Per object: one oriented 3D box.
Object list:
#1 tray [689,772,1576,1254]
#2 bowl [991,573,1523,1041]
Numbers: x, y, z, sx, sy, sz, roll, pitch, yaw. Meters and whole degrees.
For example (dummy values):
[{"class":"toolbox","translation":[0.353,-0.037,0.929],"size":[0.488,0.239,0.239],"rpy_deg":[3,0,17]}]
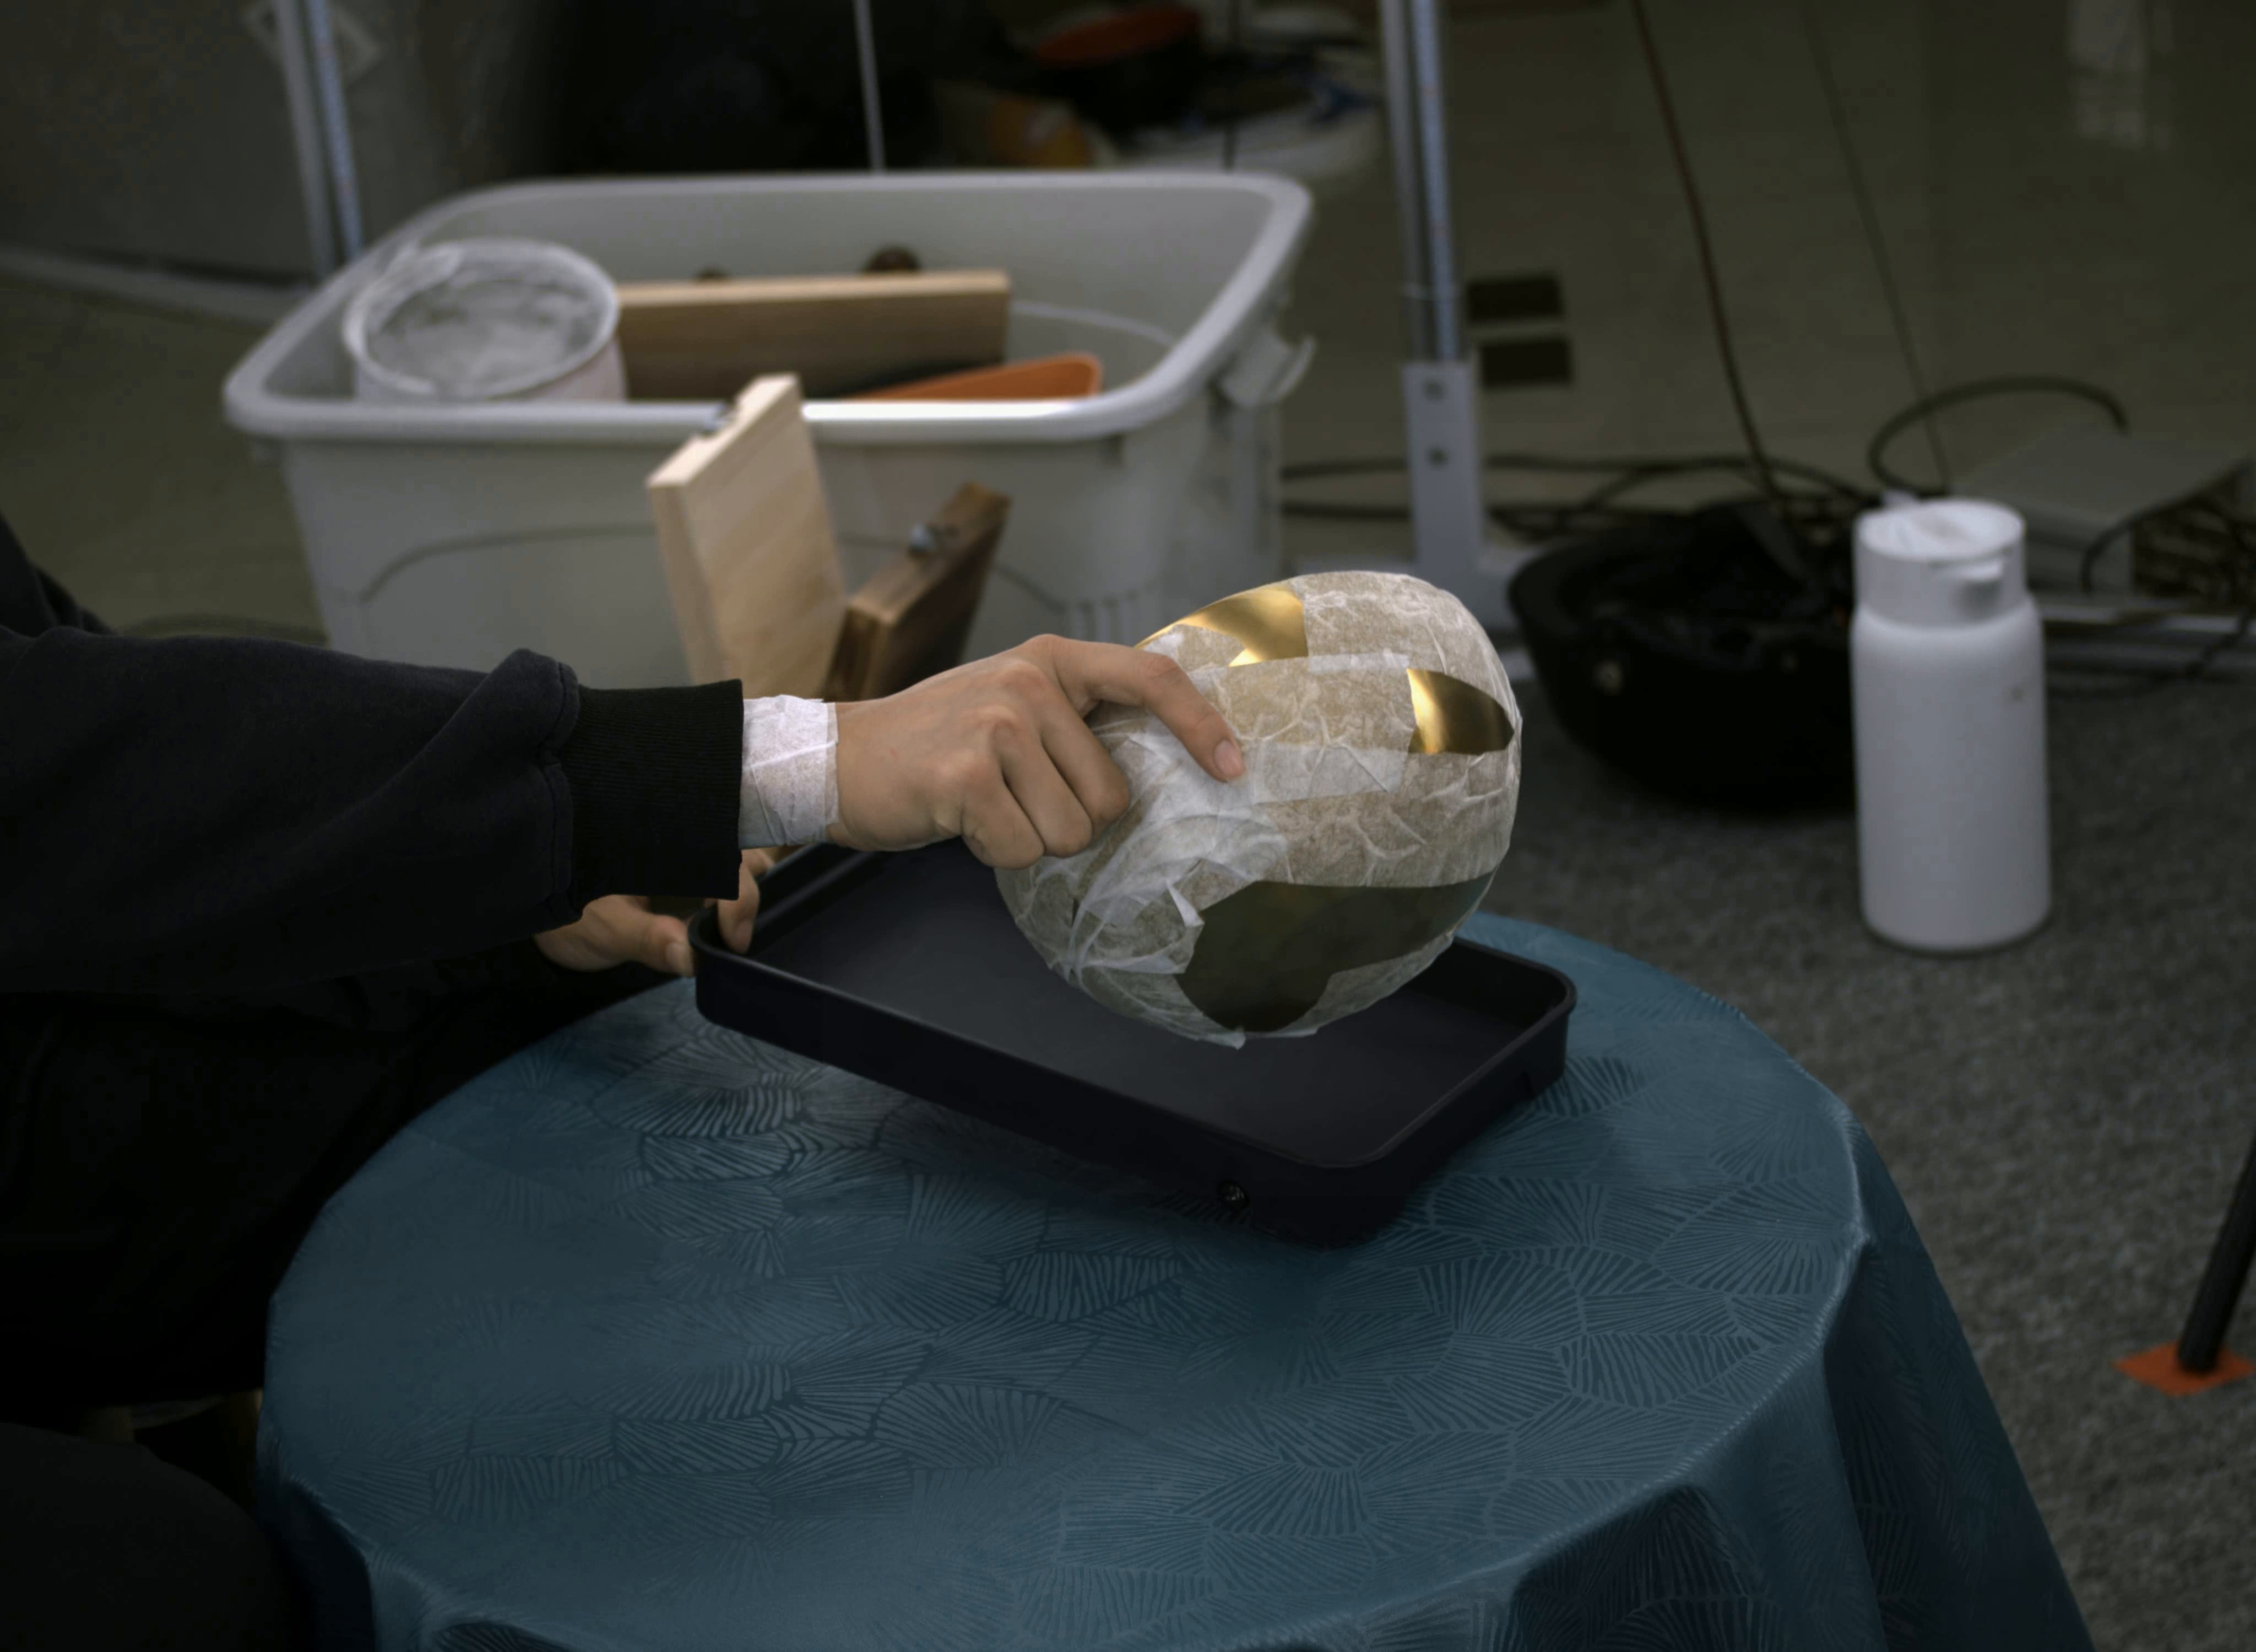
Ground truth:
[{"class":"tray","translation":[0.000,0.069,2.213],"size":[0.315,0.037,0.182],"rpy_deg":[21,33,29]},{"class":"bowl","translation":[0.058,0.014,2.044],"size":[0.214,0.219,0.093],"rpy_deg":[-15,55,-19]}]
